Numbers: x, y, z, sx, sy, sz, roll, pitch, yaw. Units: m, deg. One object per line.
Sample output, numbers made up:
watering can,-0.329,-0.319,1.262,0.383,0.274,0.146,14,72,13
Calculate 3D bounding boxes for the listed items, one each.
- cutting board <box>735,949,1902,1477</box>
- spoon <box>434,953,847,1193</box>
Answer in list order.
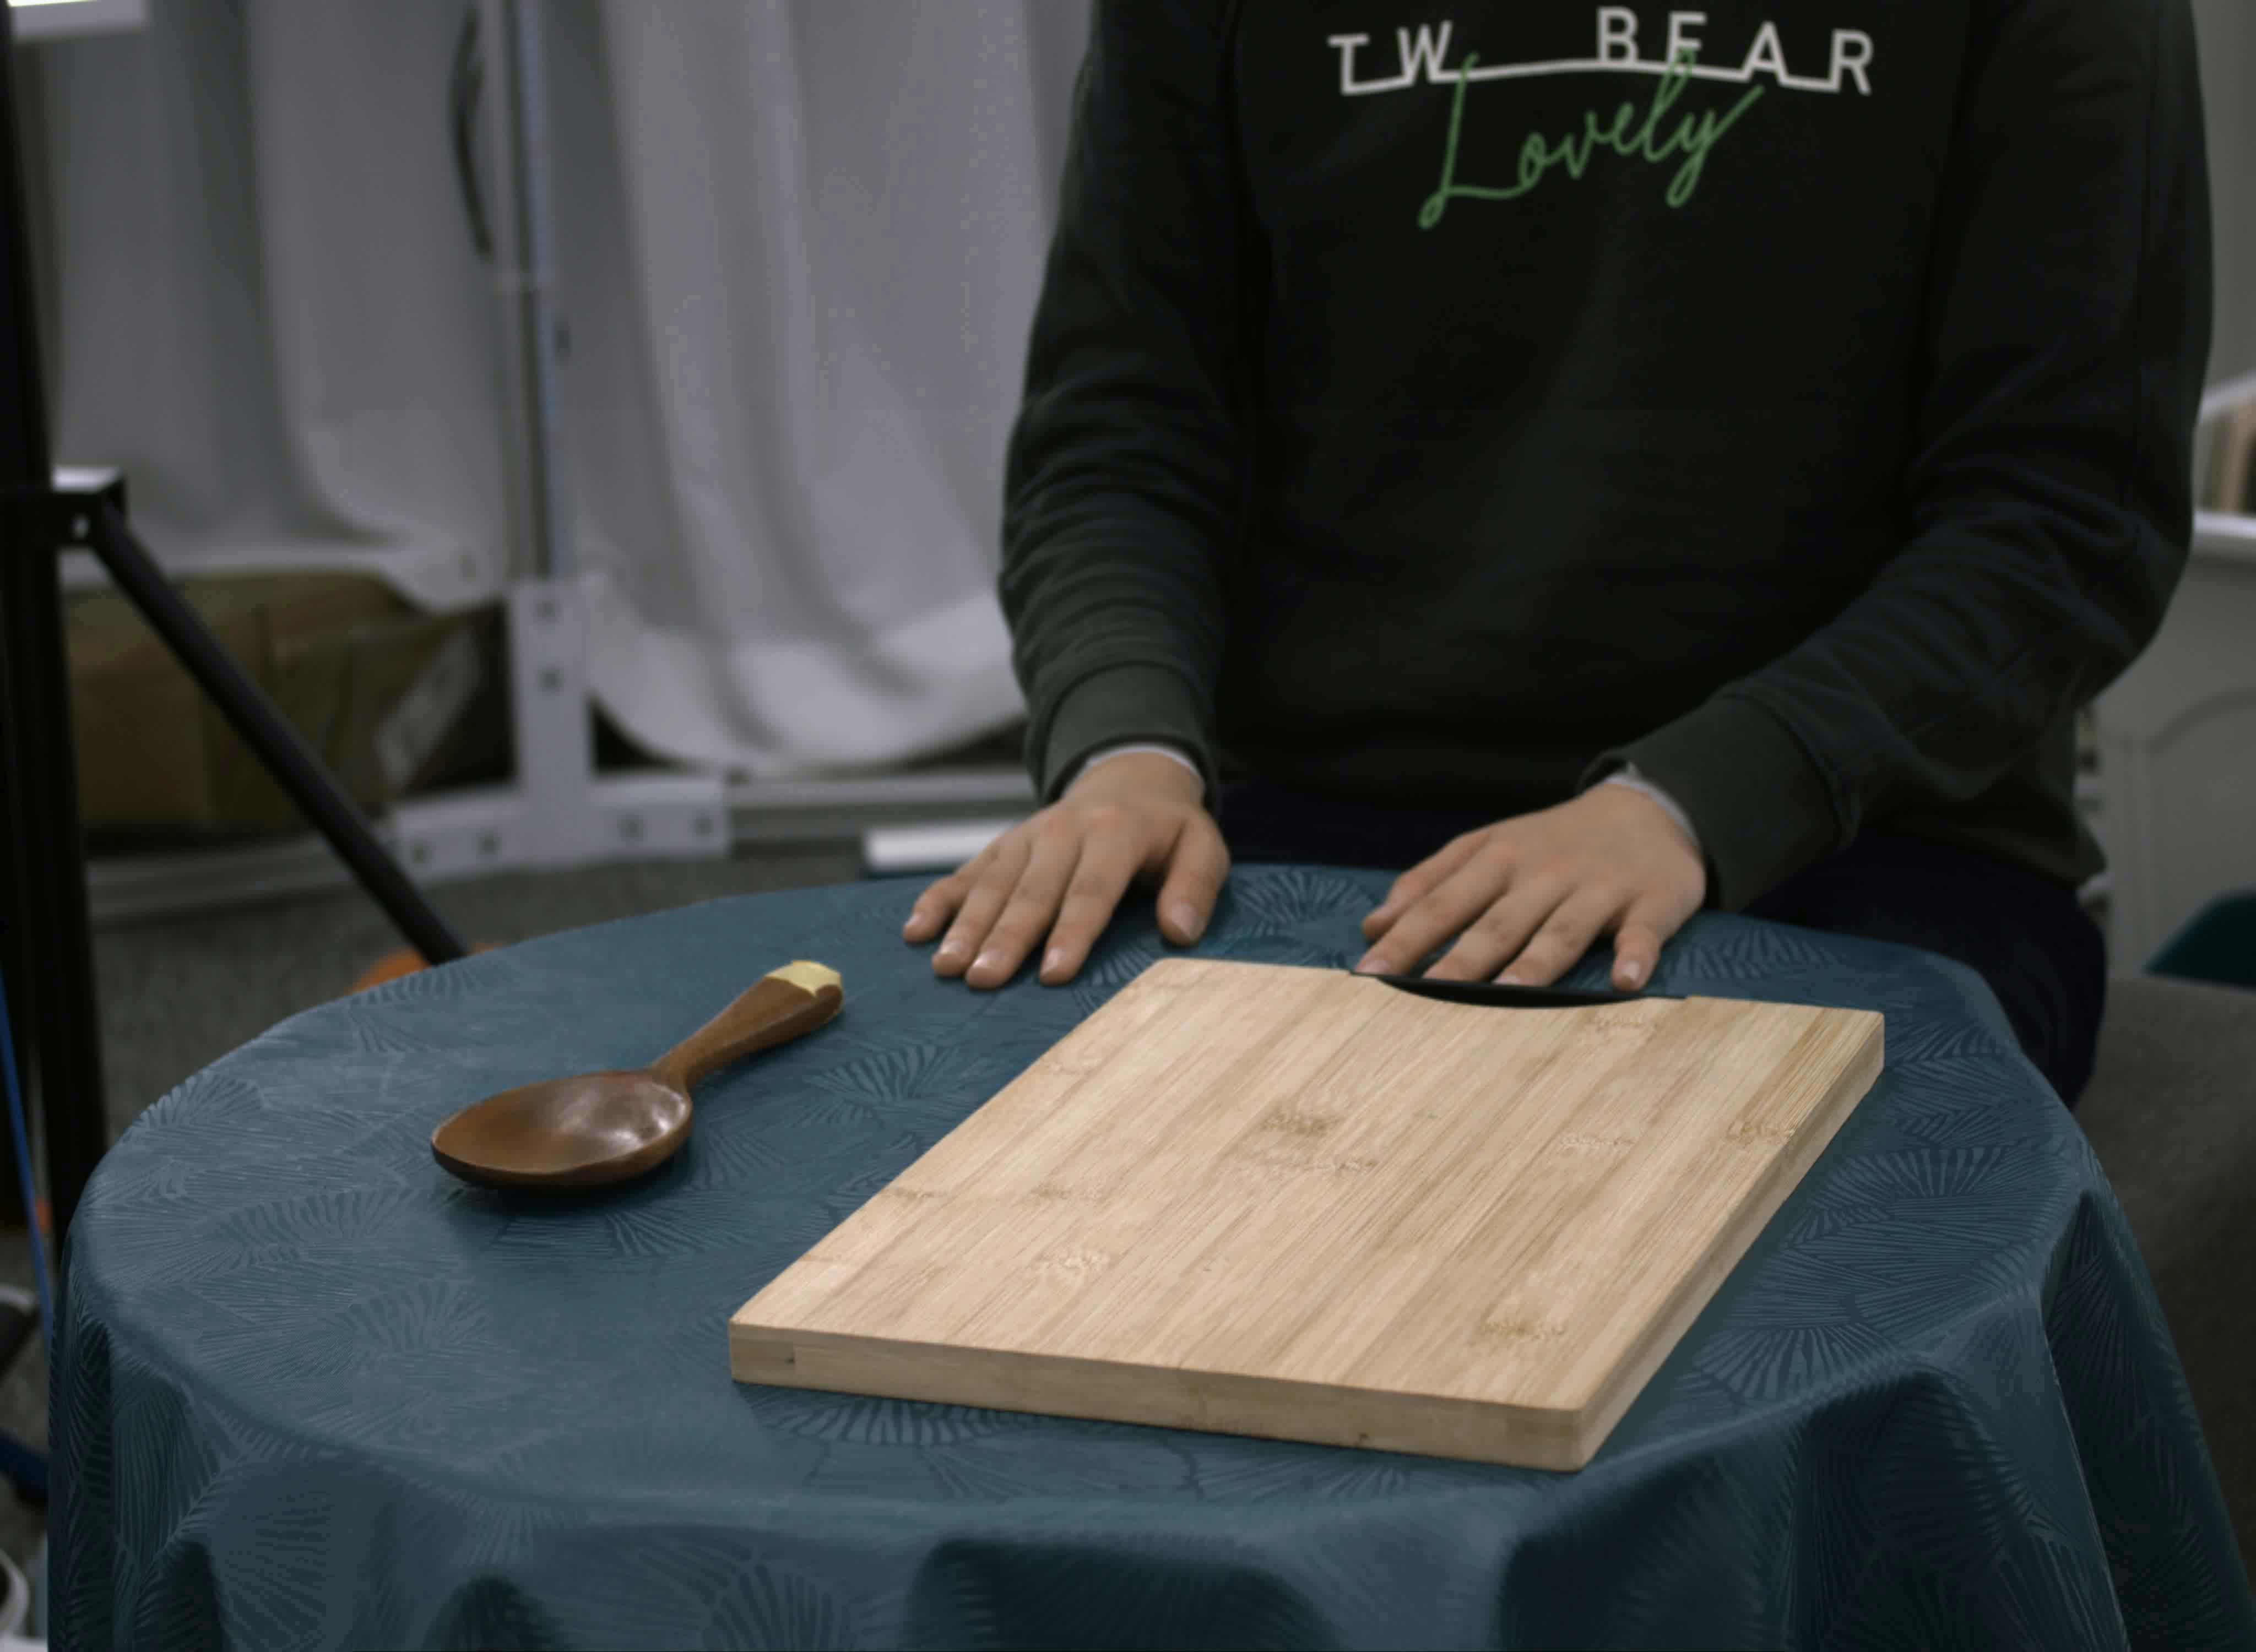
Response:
cutting board,0.066,0.103,1.535,0.254,0.023,0.344,4,17,20
spoon,-0.142,0.078,1.654,0.076,0.017,0.213,3,17,24
